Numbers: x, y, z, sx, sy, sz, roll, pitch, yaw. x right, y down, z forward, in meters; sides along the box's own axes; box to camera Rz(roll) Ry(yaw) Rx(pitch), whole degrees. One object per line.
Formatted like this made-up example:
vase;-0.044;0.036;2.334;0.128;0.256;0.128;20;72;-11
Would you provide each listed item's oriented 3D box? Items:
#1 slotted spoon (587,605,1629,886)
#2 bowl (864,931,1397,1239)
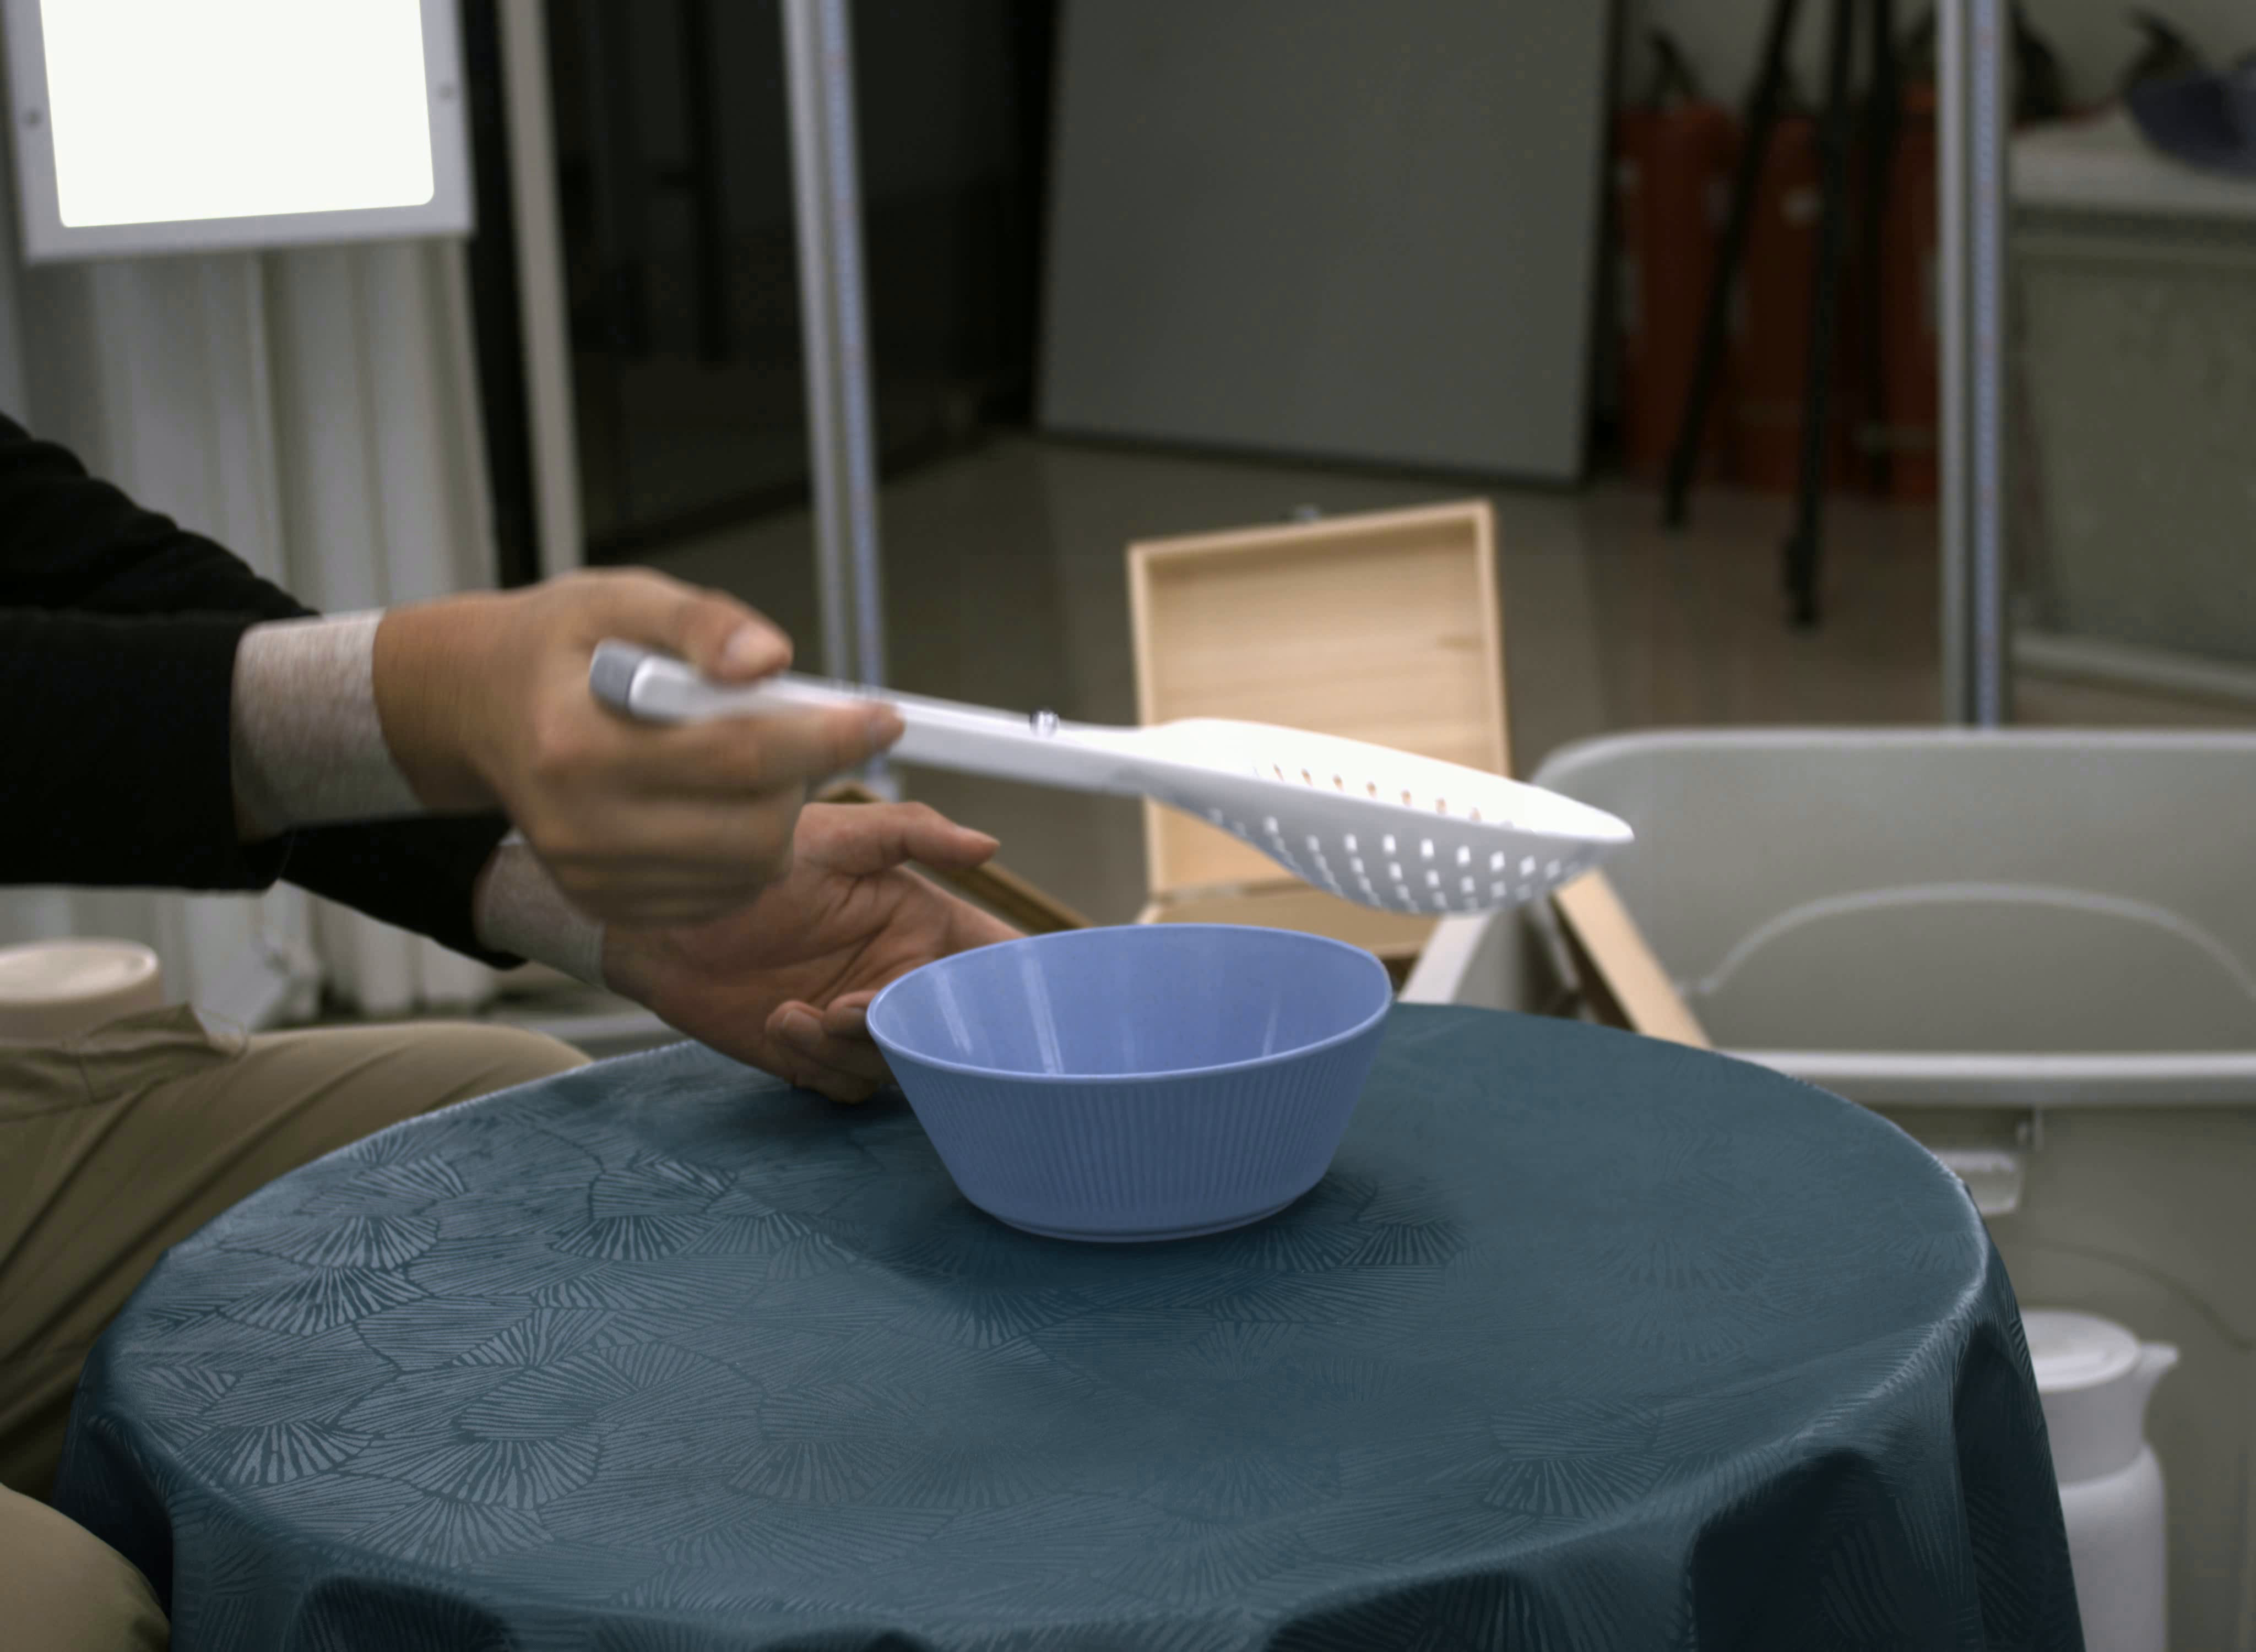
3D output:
slotted spoon;-0.003;-0.029;1.513;0.342;0.046;0.137;15;5;-39
bowl;0.003;0.086;1.760;0.174;0.071;0.176;-5;13;0
